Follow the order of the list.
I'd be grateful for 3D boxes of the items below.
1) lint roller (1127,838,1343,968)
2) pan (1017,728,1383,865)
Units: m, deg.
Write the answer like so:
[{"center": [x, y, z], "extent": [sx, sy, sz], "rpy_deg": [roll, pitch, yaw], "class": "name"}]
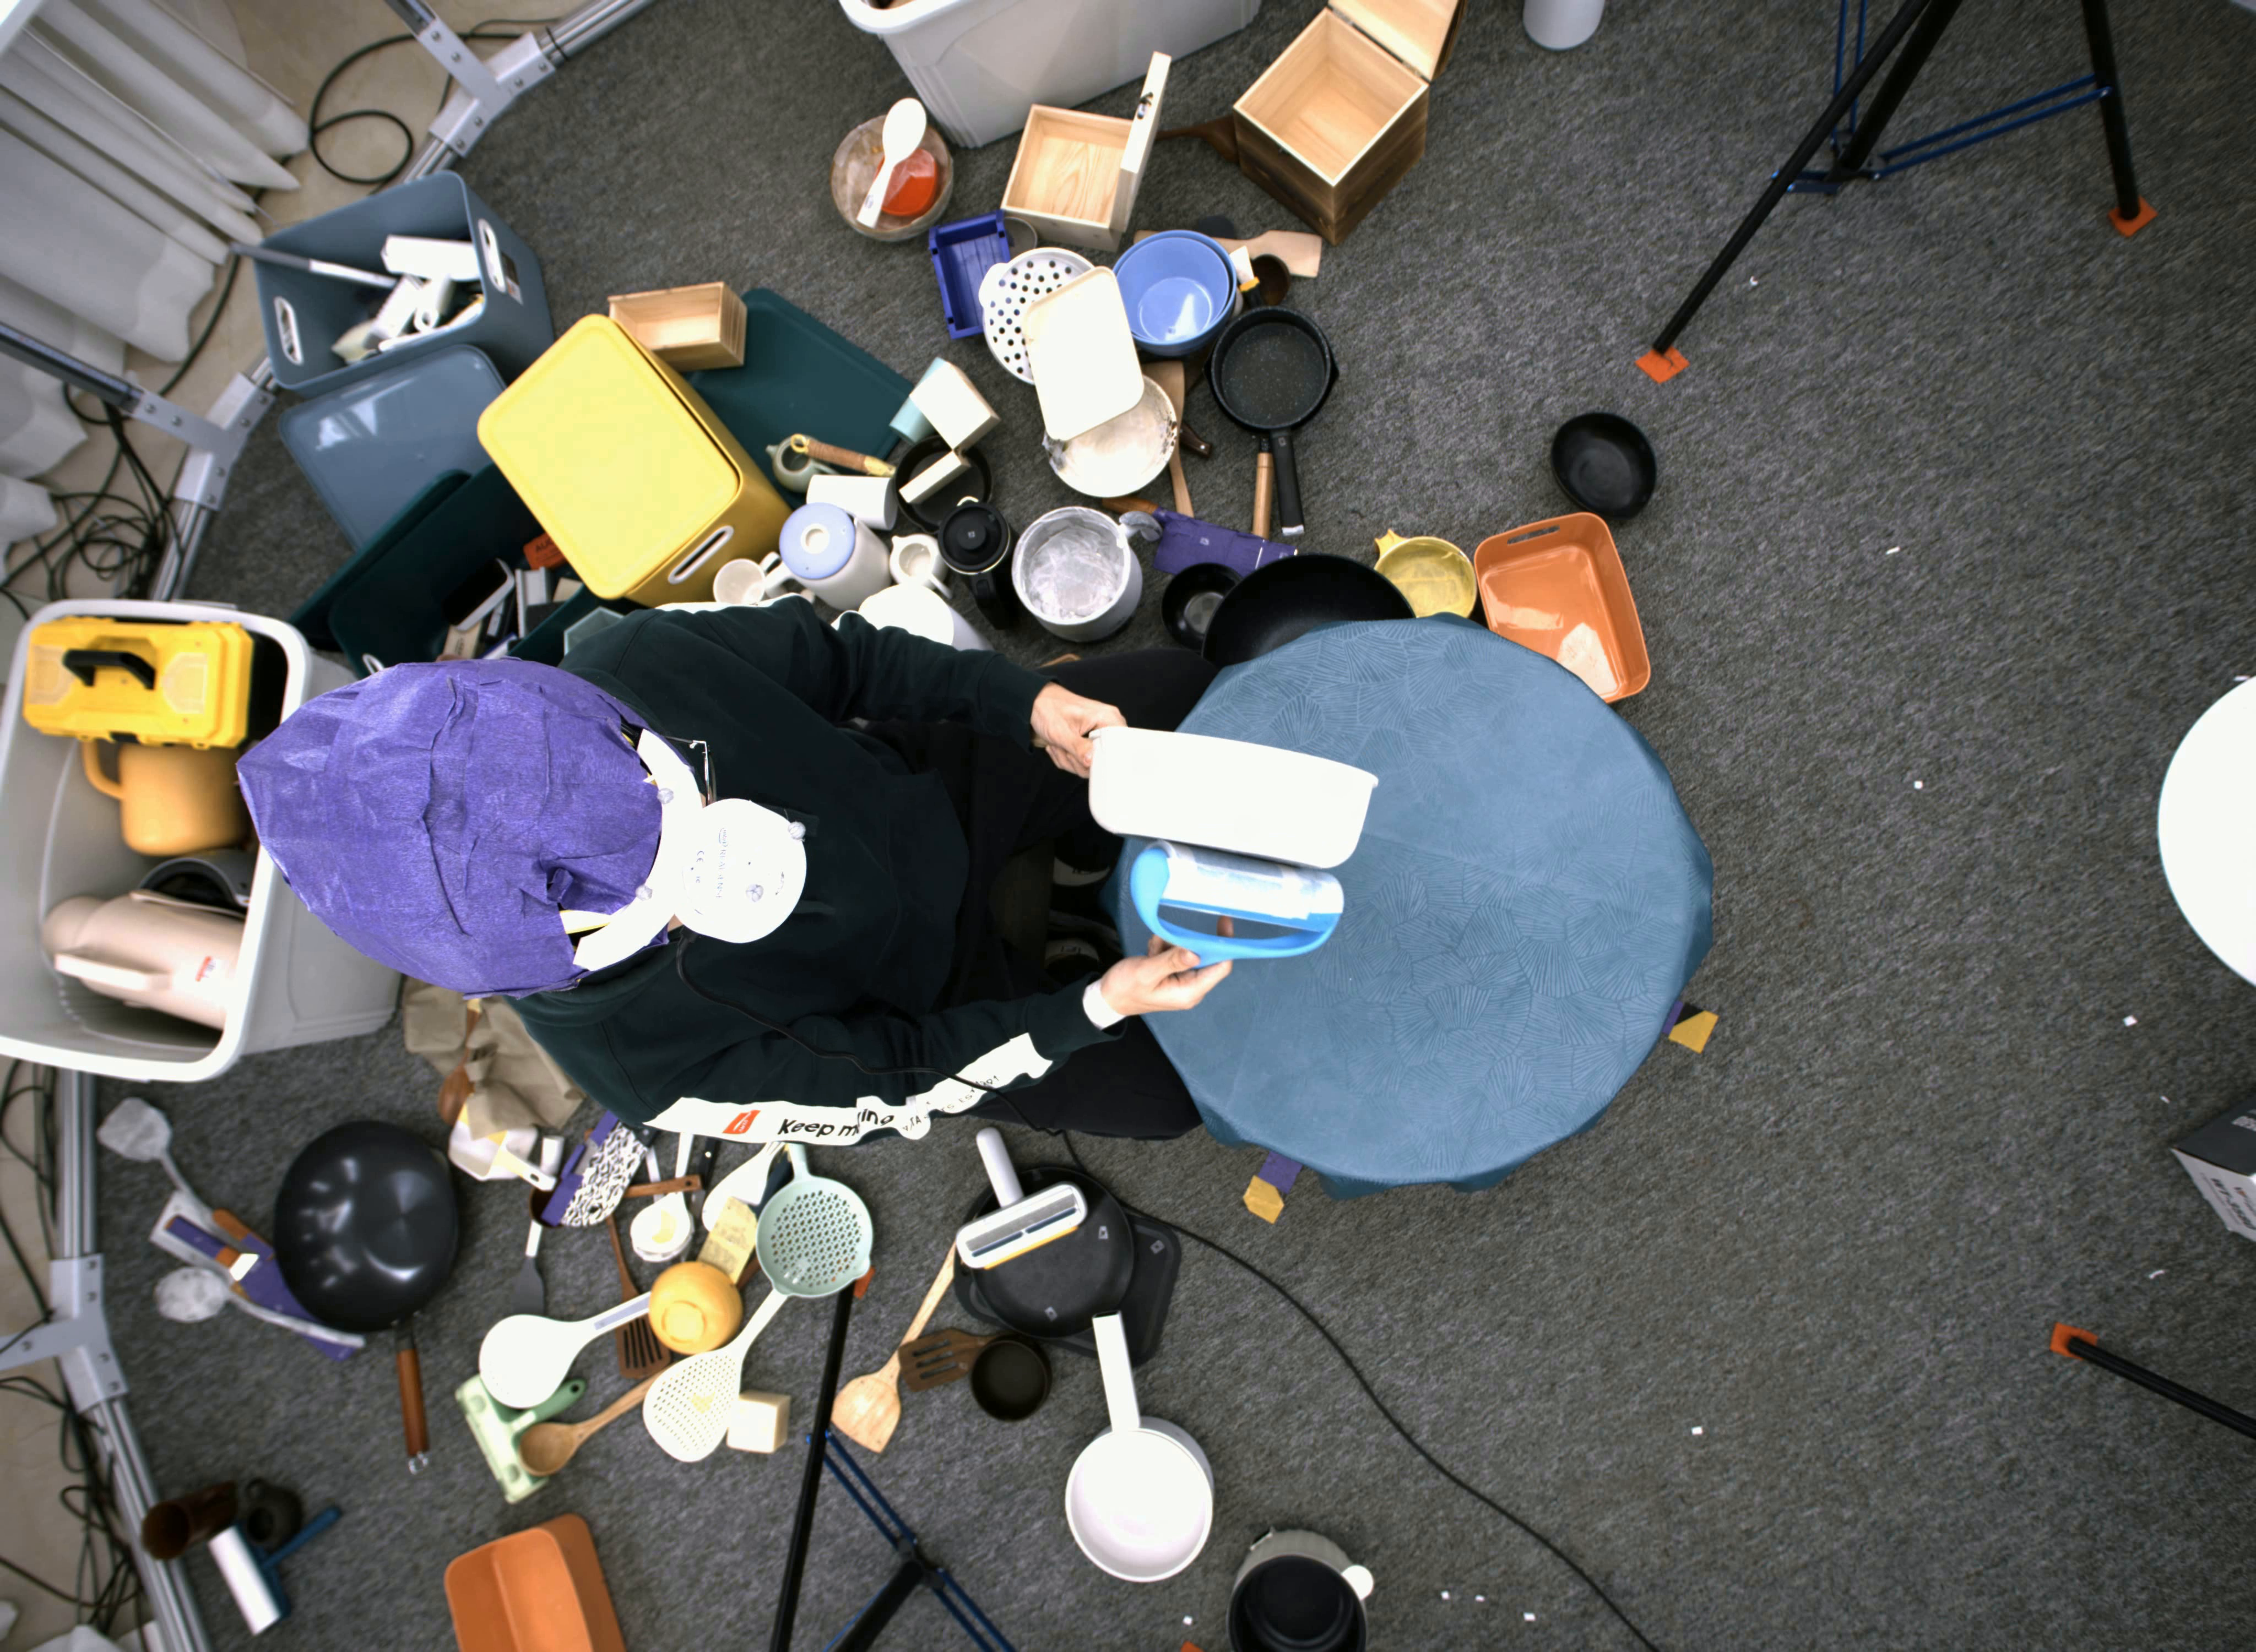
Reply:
[{"center": [0.068, 0.088, 1.234], "extent": [0.184, 0.228, 0.066], "rpy_deg": [-51, 45, 39], "class": "lint roller"}, {"center": [0.029, -0.035, 1.256], "extent": [0.436, 0.262, 0.102], "rpy_deg": [7, 88, 50], "class": "pan"}]
